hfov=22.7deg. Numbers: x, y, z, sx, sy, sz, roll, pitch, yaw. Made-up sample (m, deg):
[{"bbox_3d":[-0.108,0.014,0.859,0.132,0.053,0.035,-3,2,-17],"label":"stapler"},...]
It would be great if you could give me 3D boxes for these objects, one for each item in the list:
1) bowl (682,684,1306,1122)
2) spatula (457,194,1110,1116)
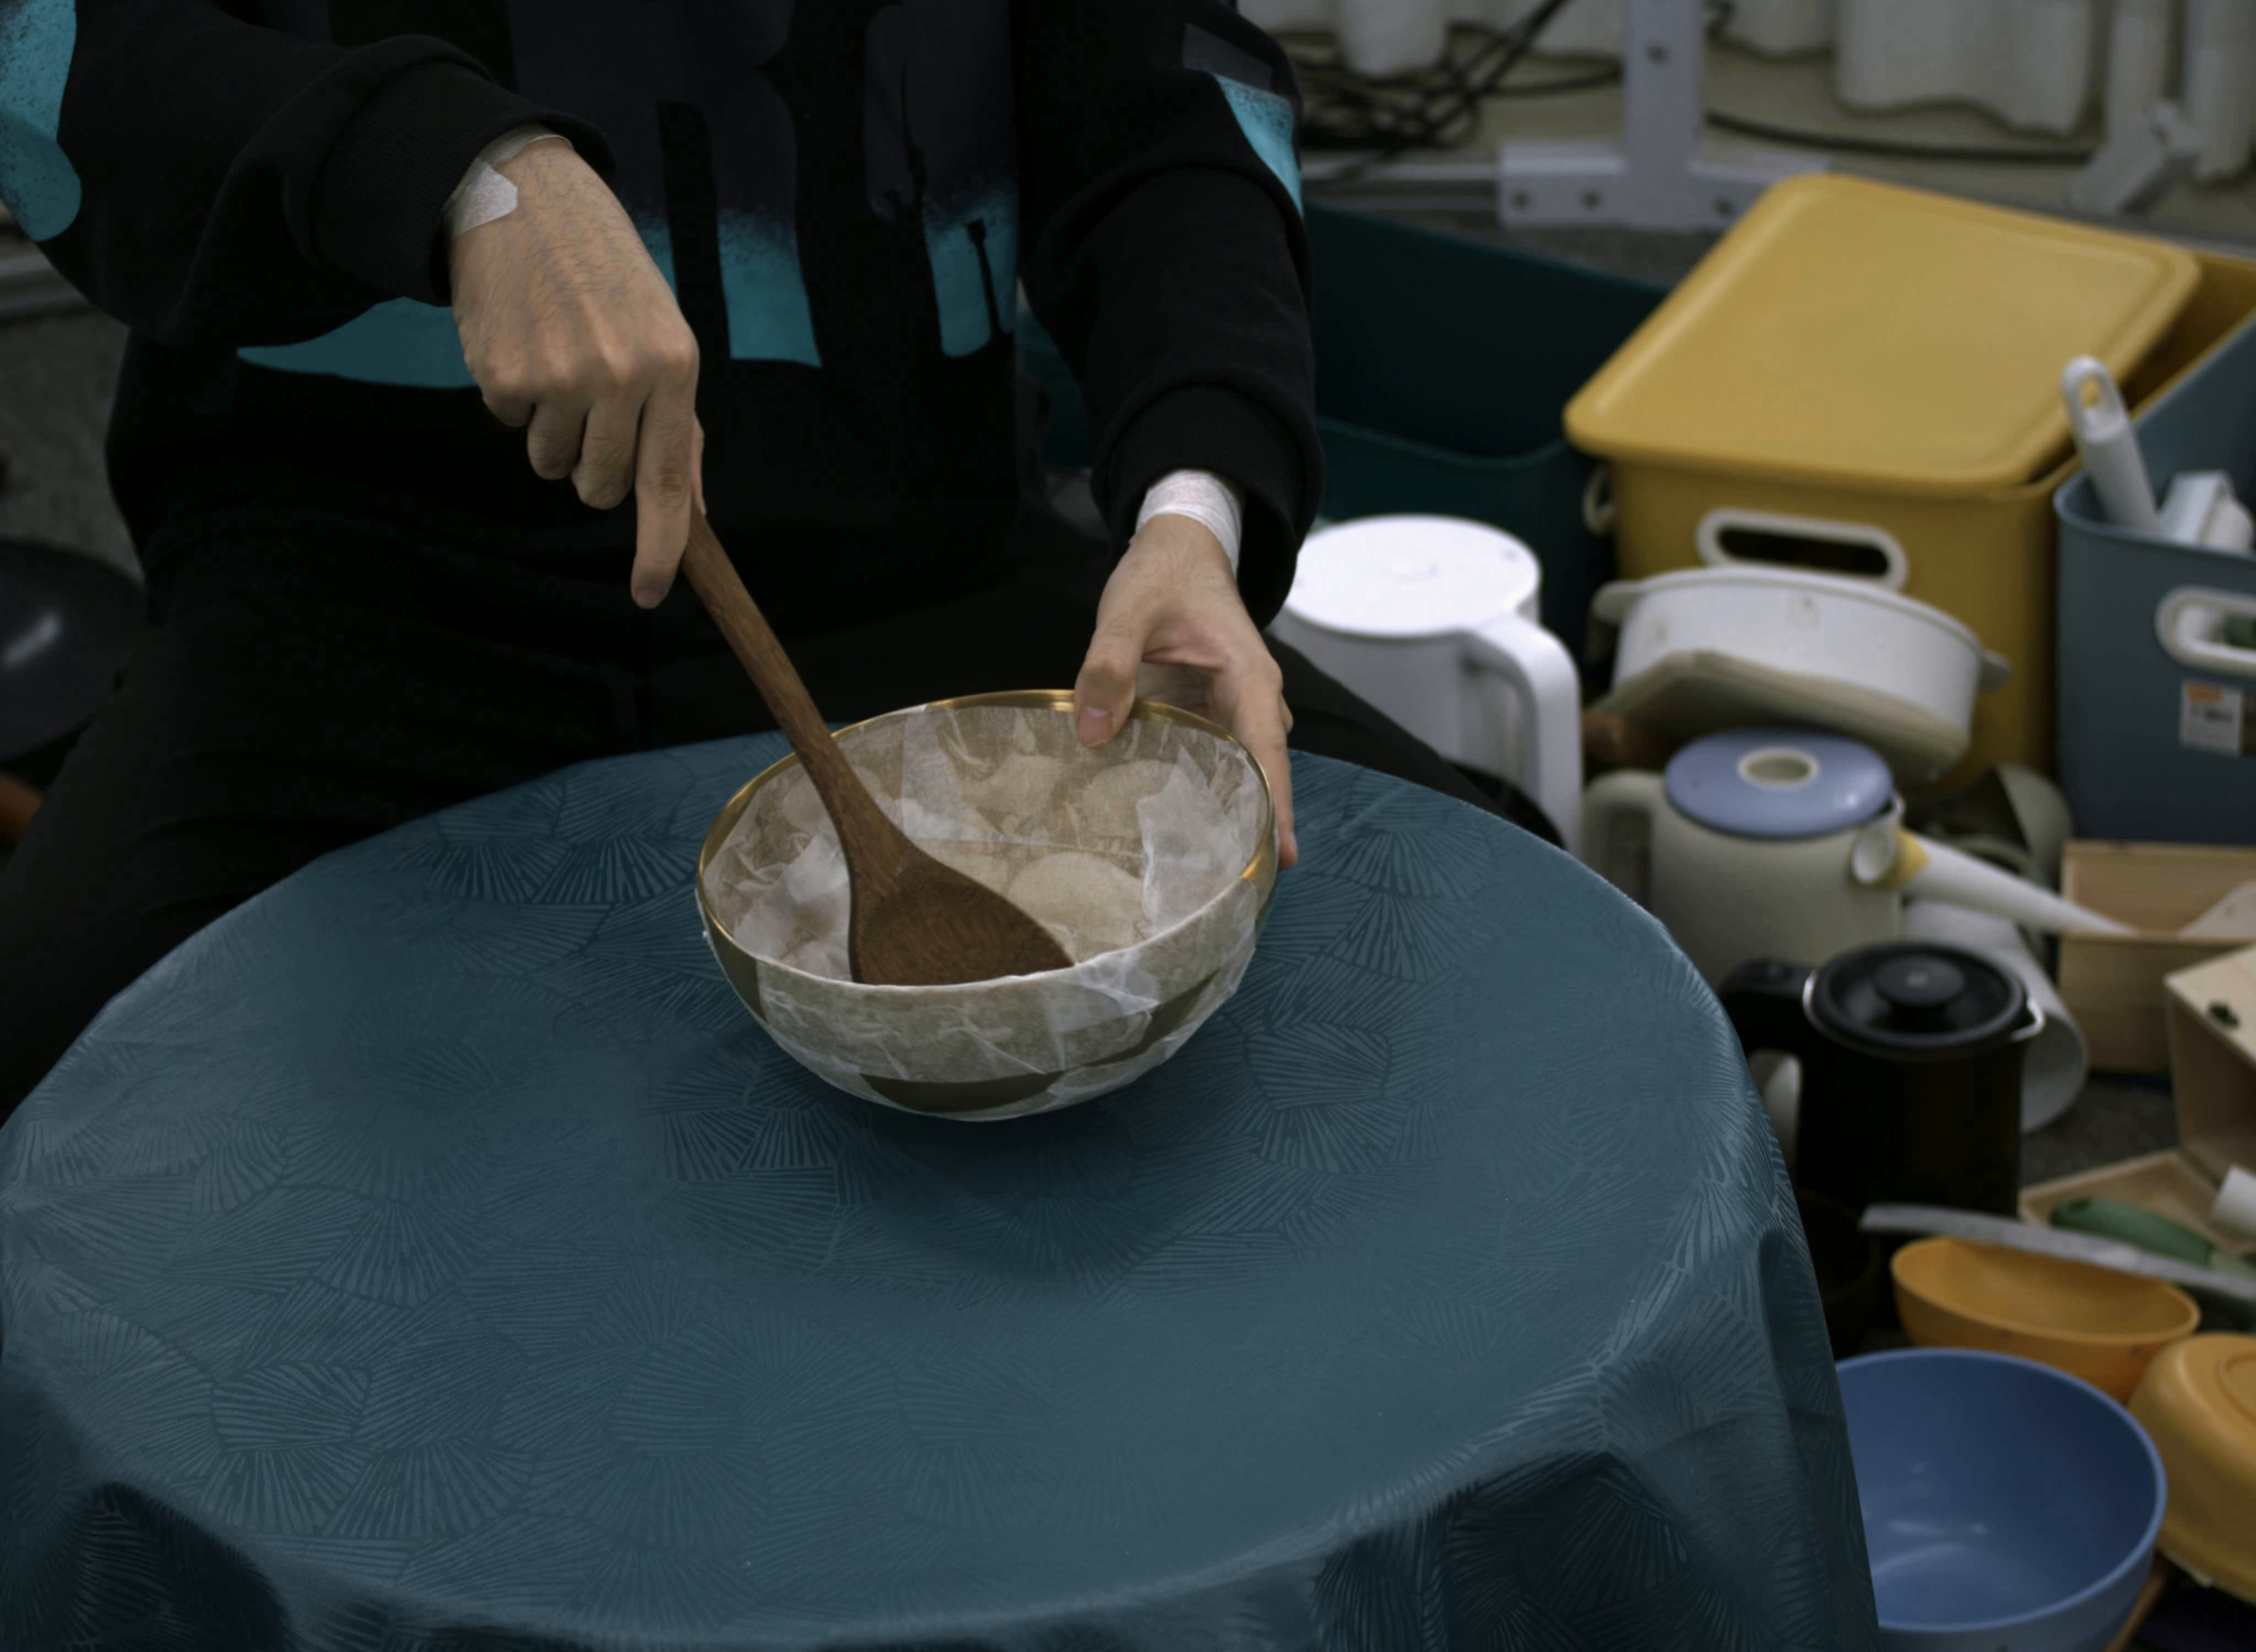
[{"bbox_3d":[-0.041,0.039,1.922,0.213,0.093,0.218,-7,27,4],"label":"bowl"},{"bbox_3d":[-0.127,-0.064,1.940,0.097,0.015,0.388,-20,72,-46],"label":"spatula"}]
